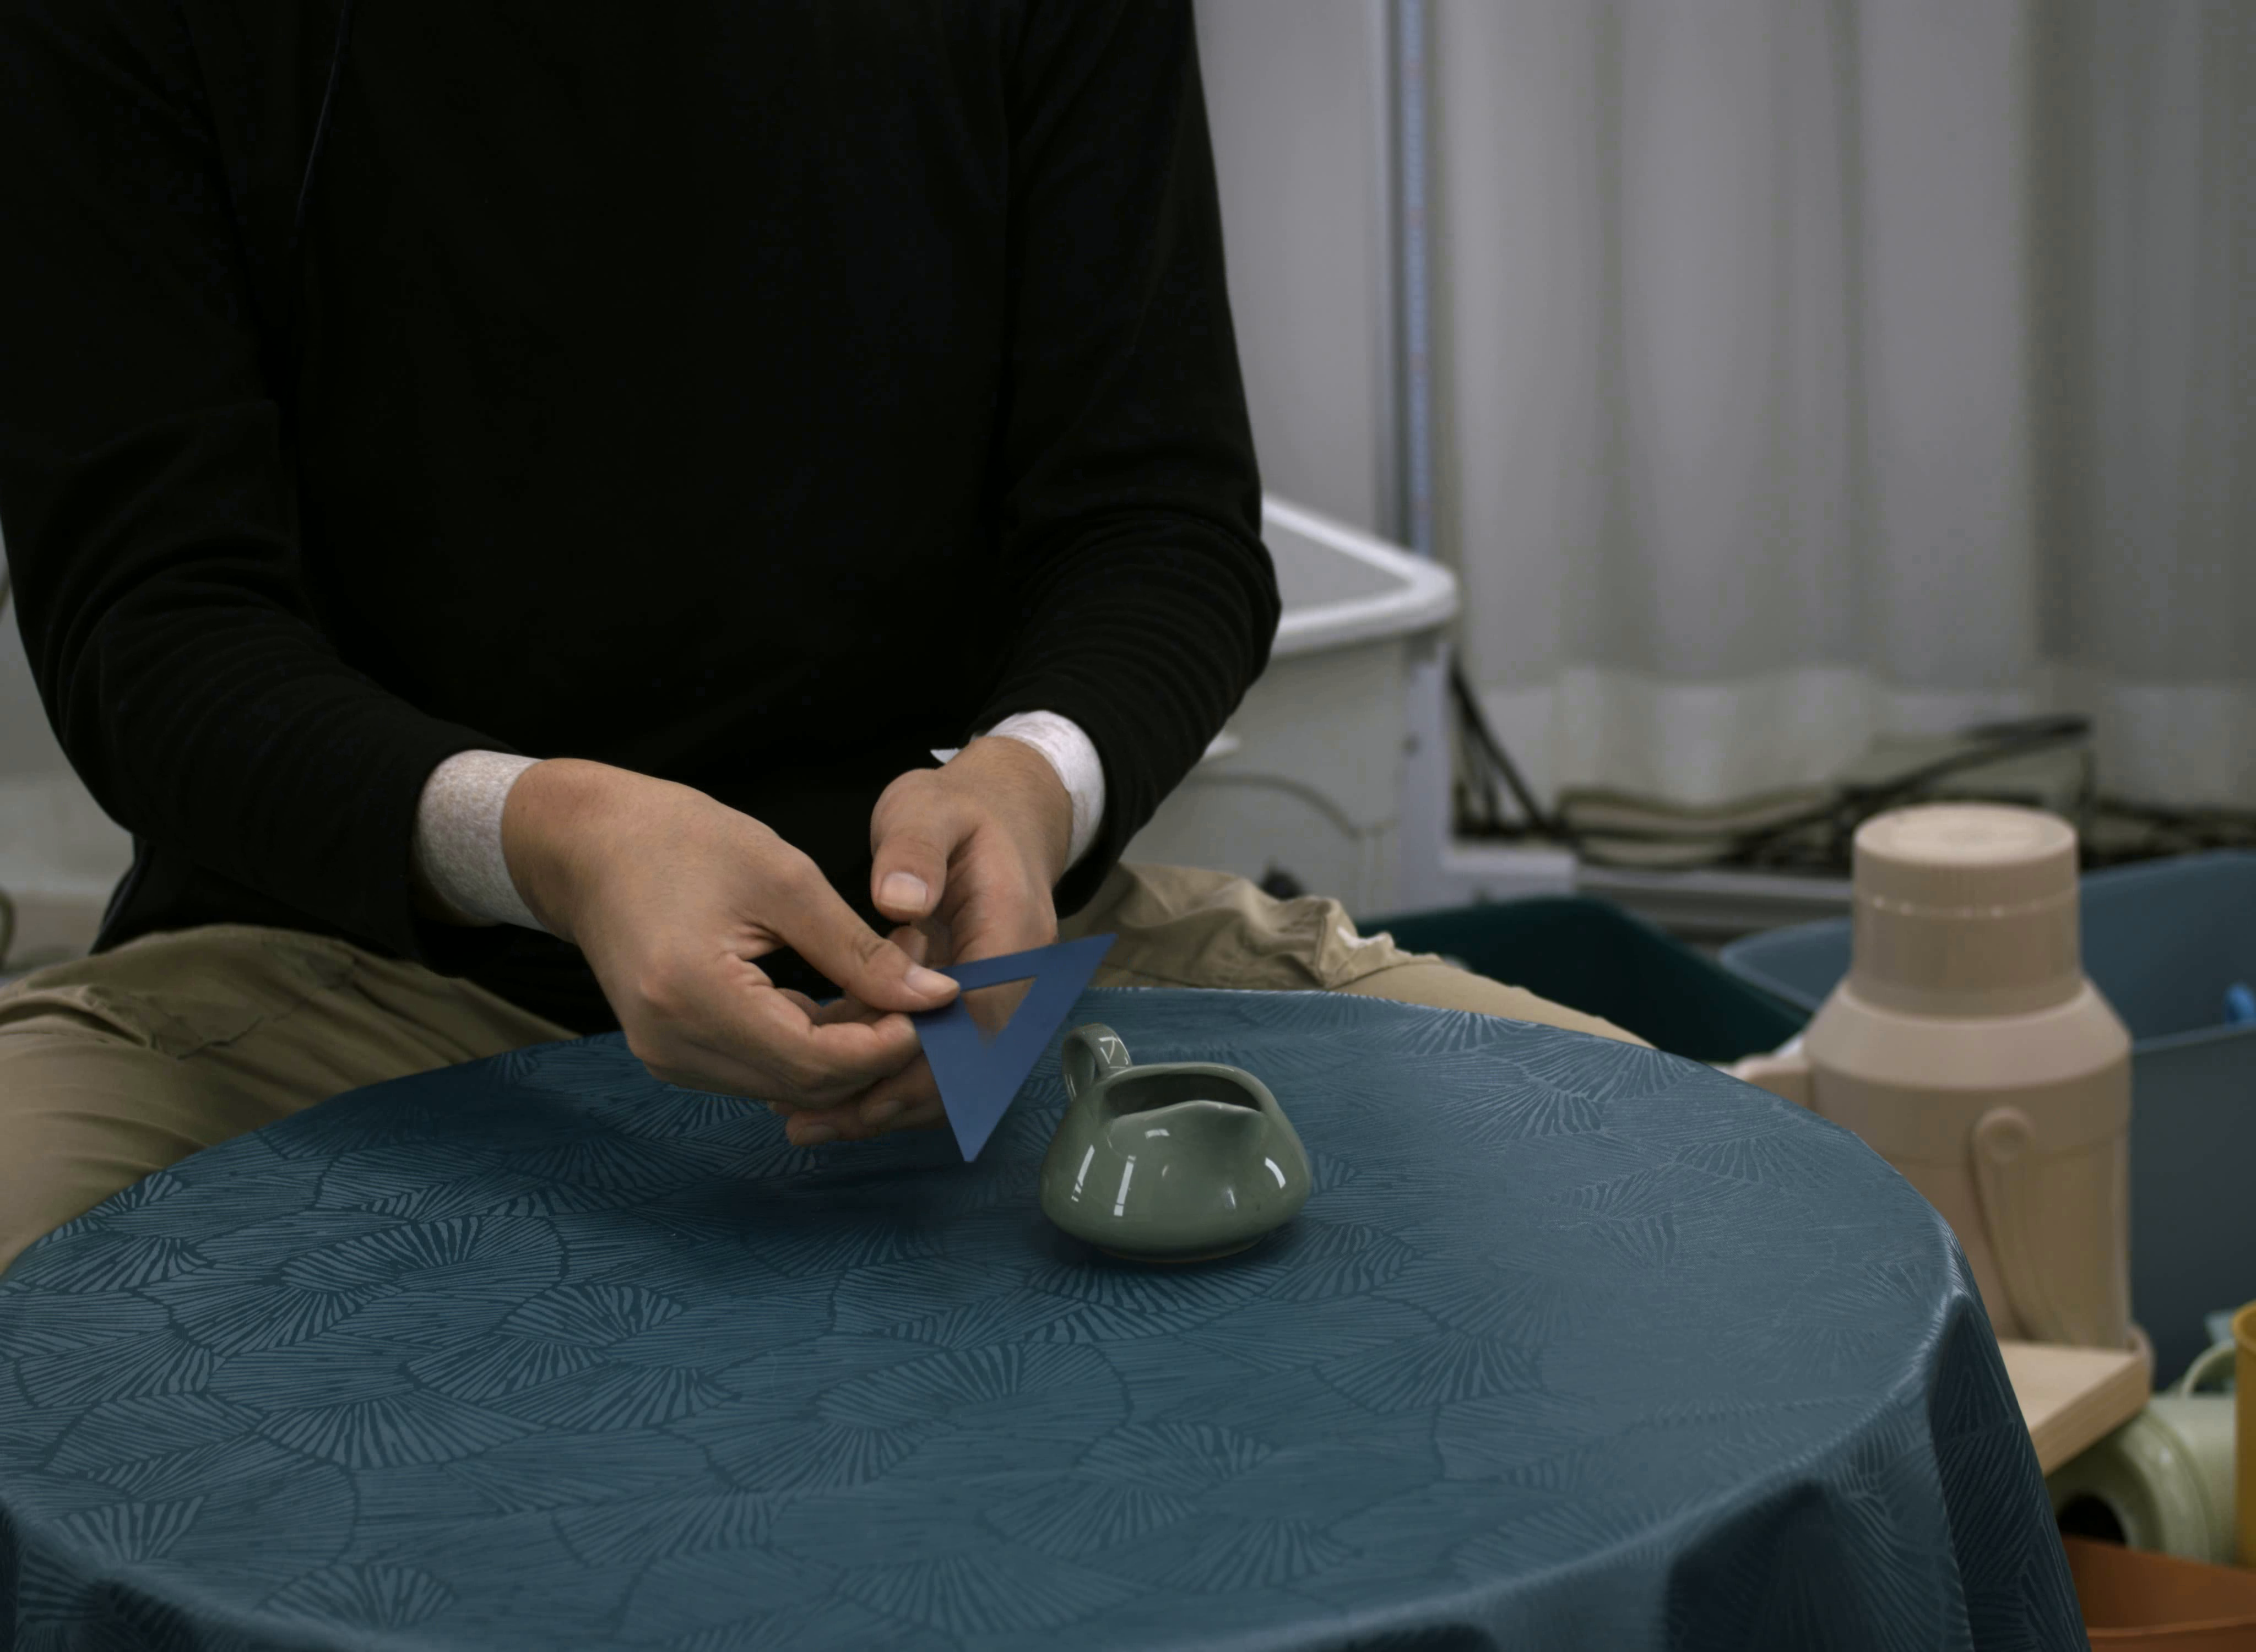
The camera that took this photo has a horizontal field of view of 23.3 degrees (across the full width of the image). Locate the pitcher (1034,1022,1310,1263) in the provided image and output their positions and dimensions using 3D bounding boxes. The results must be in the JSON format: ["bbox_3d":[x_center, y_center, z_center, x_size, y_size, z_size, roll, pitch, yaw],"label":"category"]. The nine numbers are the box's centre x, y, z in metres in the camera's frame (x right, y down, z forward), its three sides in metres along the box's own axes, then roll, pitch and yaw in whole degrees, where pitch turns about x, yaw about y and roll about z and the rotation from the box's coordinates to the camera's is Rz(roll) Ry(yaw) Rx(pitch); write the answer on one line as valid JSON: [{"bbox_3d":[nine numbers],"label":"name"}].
[{"bbox_3d":[0.010,0.097,1.670,0.084,0.056,0.113,-8,15,-28],"label":"pitcher"}]

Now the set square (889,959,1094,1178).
[{"bbox_3d":[-0.060,0.069,1.659,0.061,0.006,0.133,5,30,22],"label":"set square"}]
